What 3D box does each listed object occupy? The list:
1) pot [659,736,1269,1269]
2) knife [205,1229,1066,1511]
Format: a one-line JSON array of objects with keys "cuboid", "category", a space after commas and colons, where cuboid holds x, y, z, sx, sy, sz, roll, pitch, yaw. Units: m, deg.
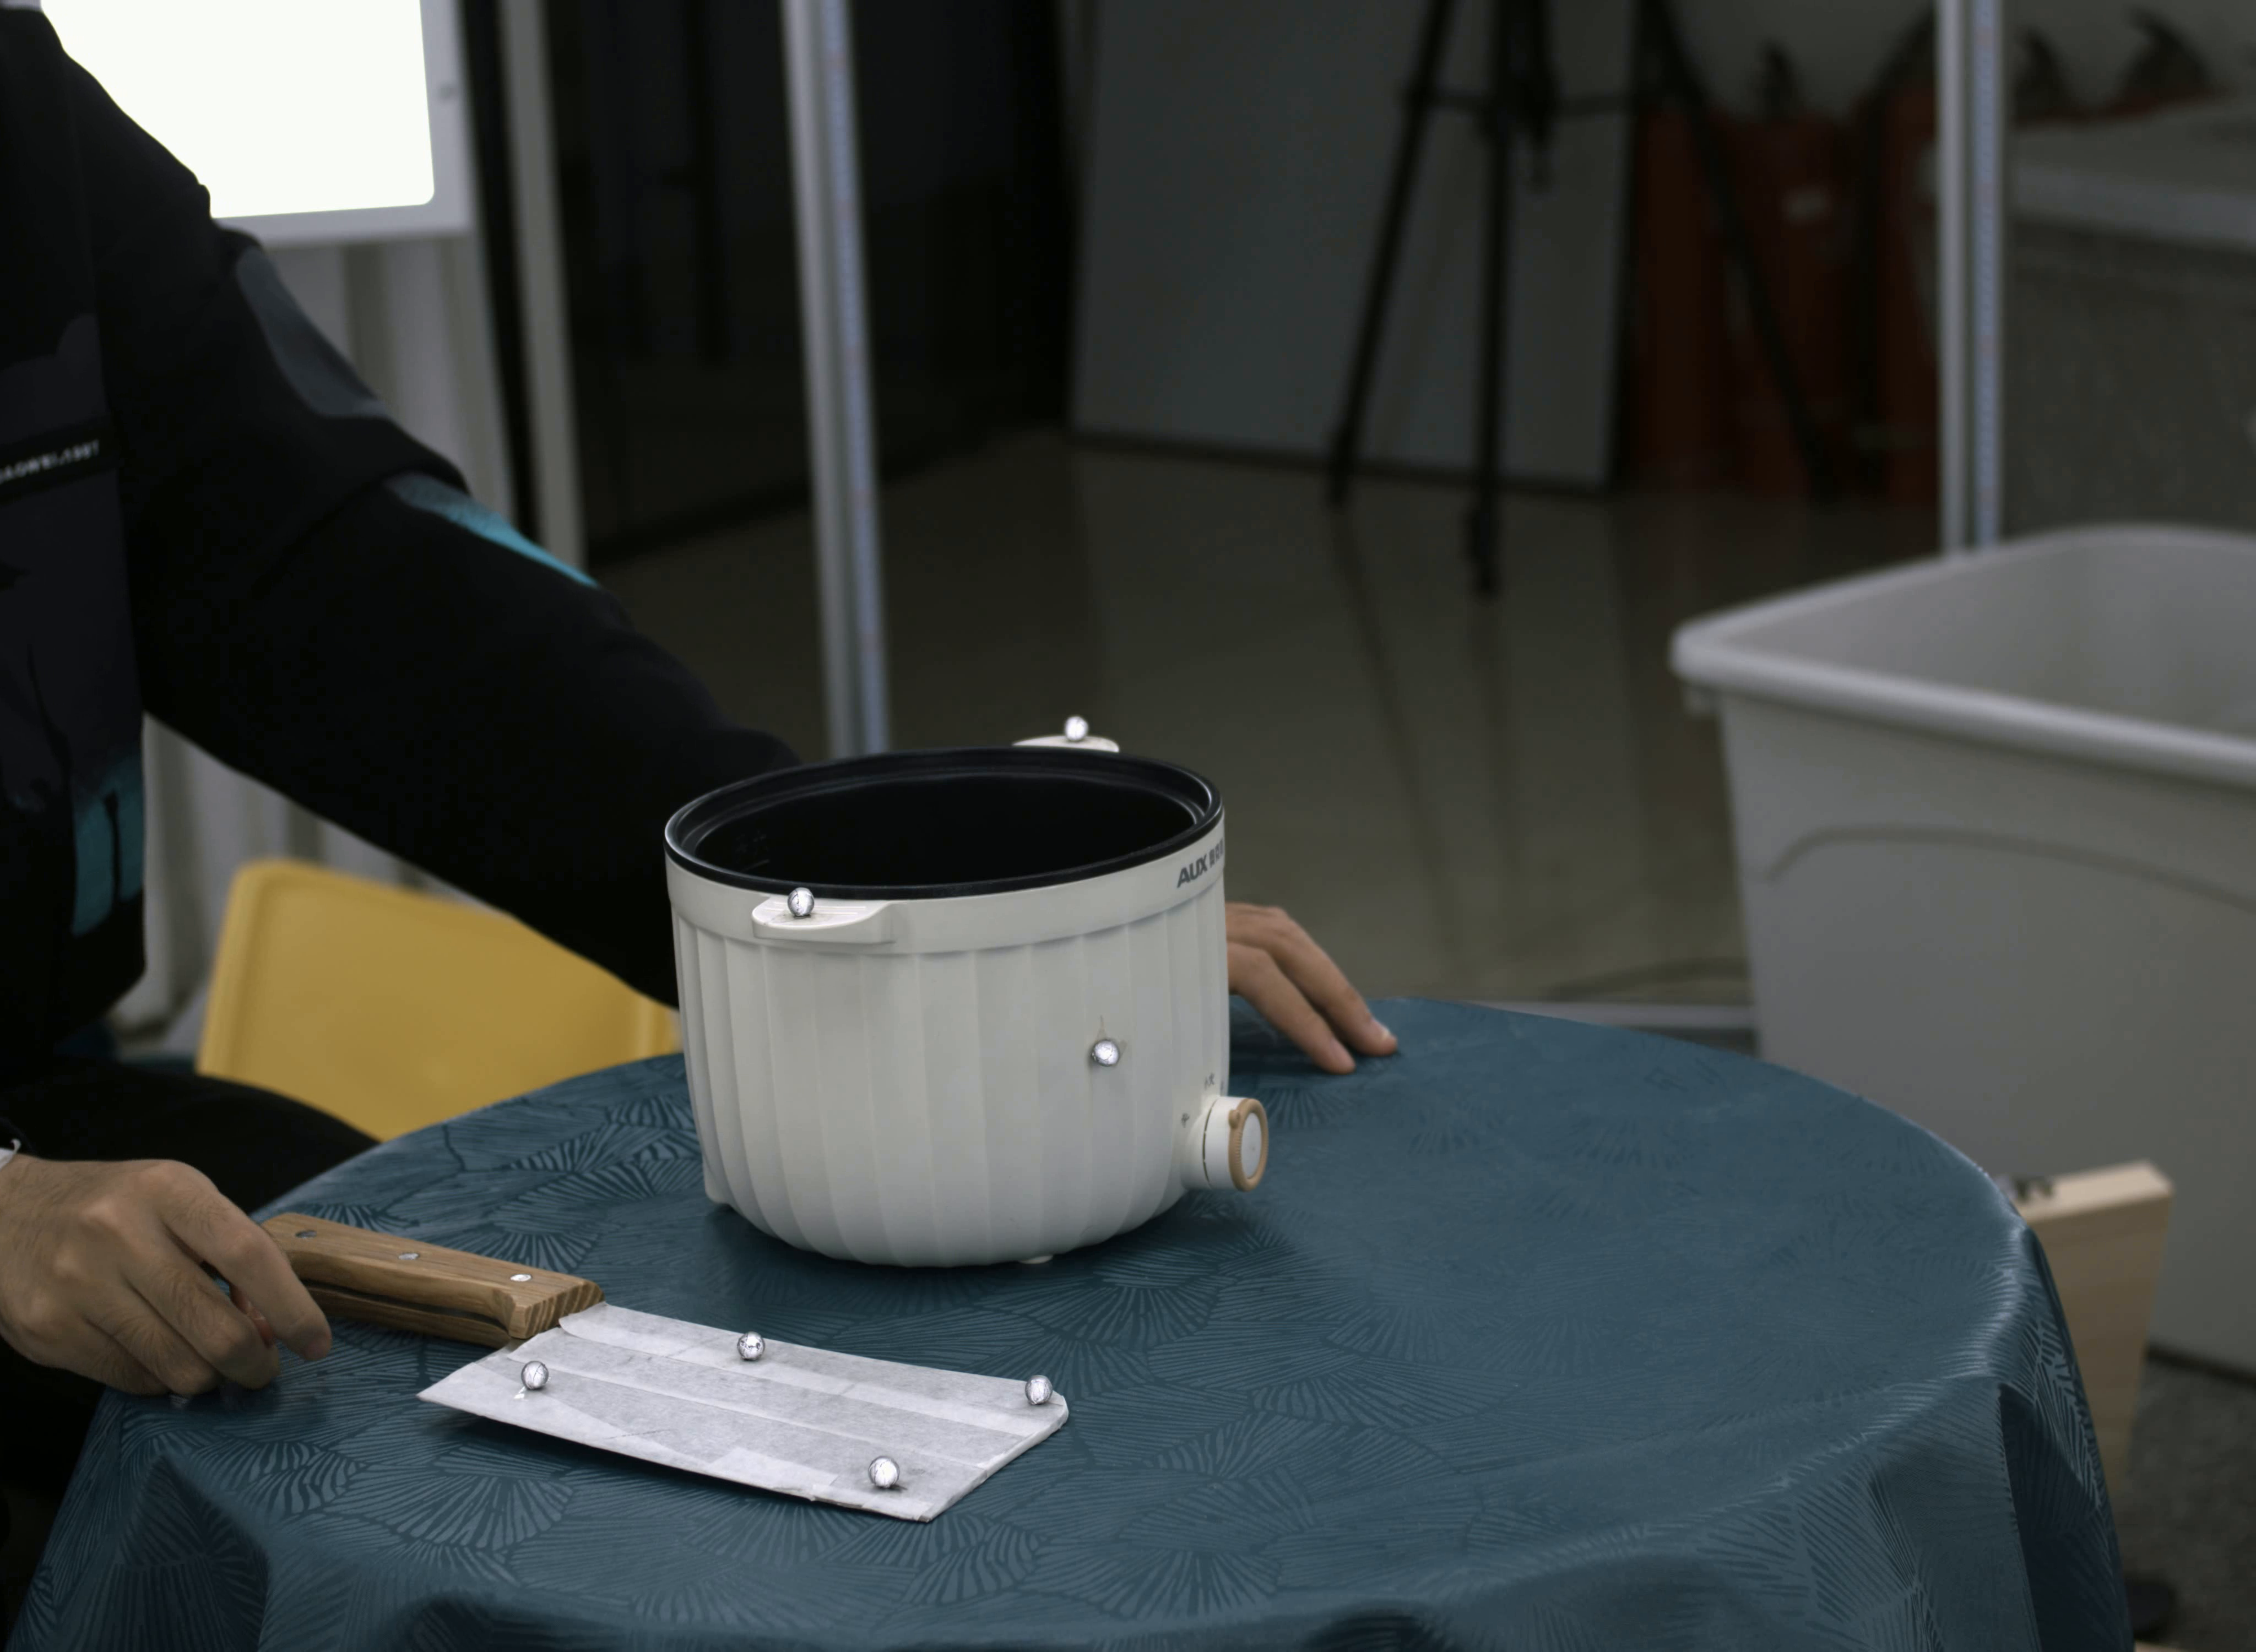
[{"cuboid": [-0.051, 0.059, 1.744, 0.190, 0.144, 0.238, -2, 14, 23], "category": "pot"}, {"cuboid": [-0.156, 0.161, 1.620, 0.317, 0.022, 0.112, 9, 19, 36], "category": "knife"}]
